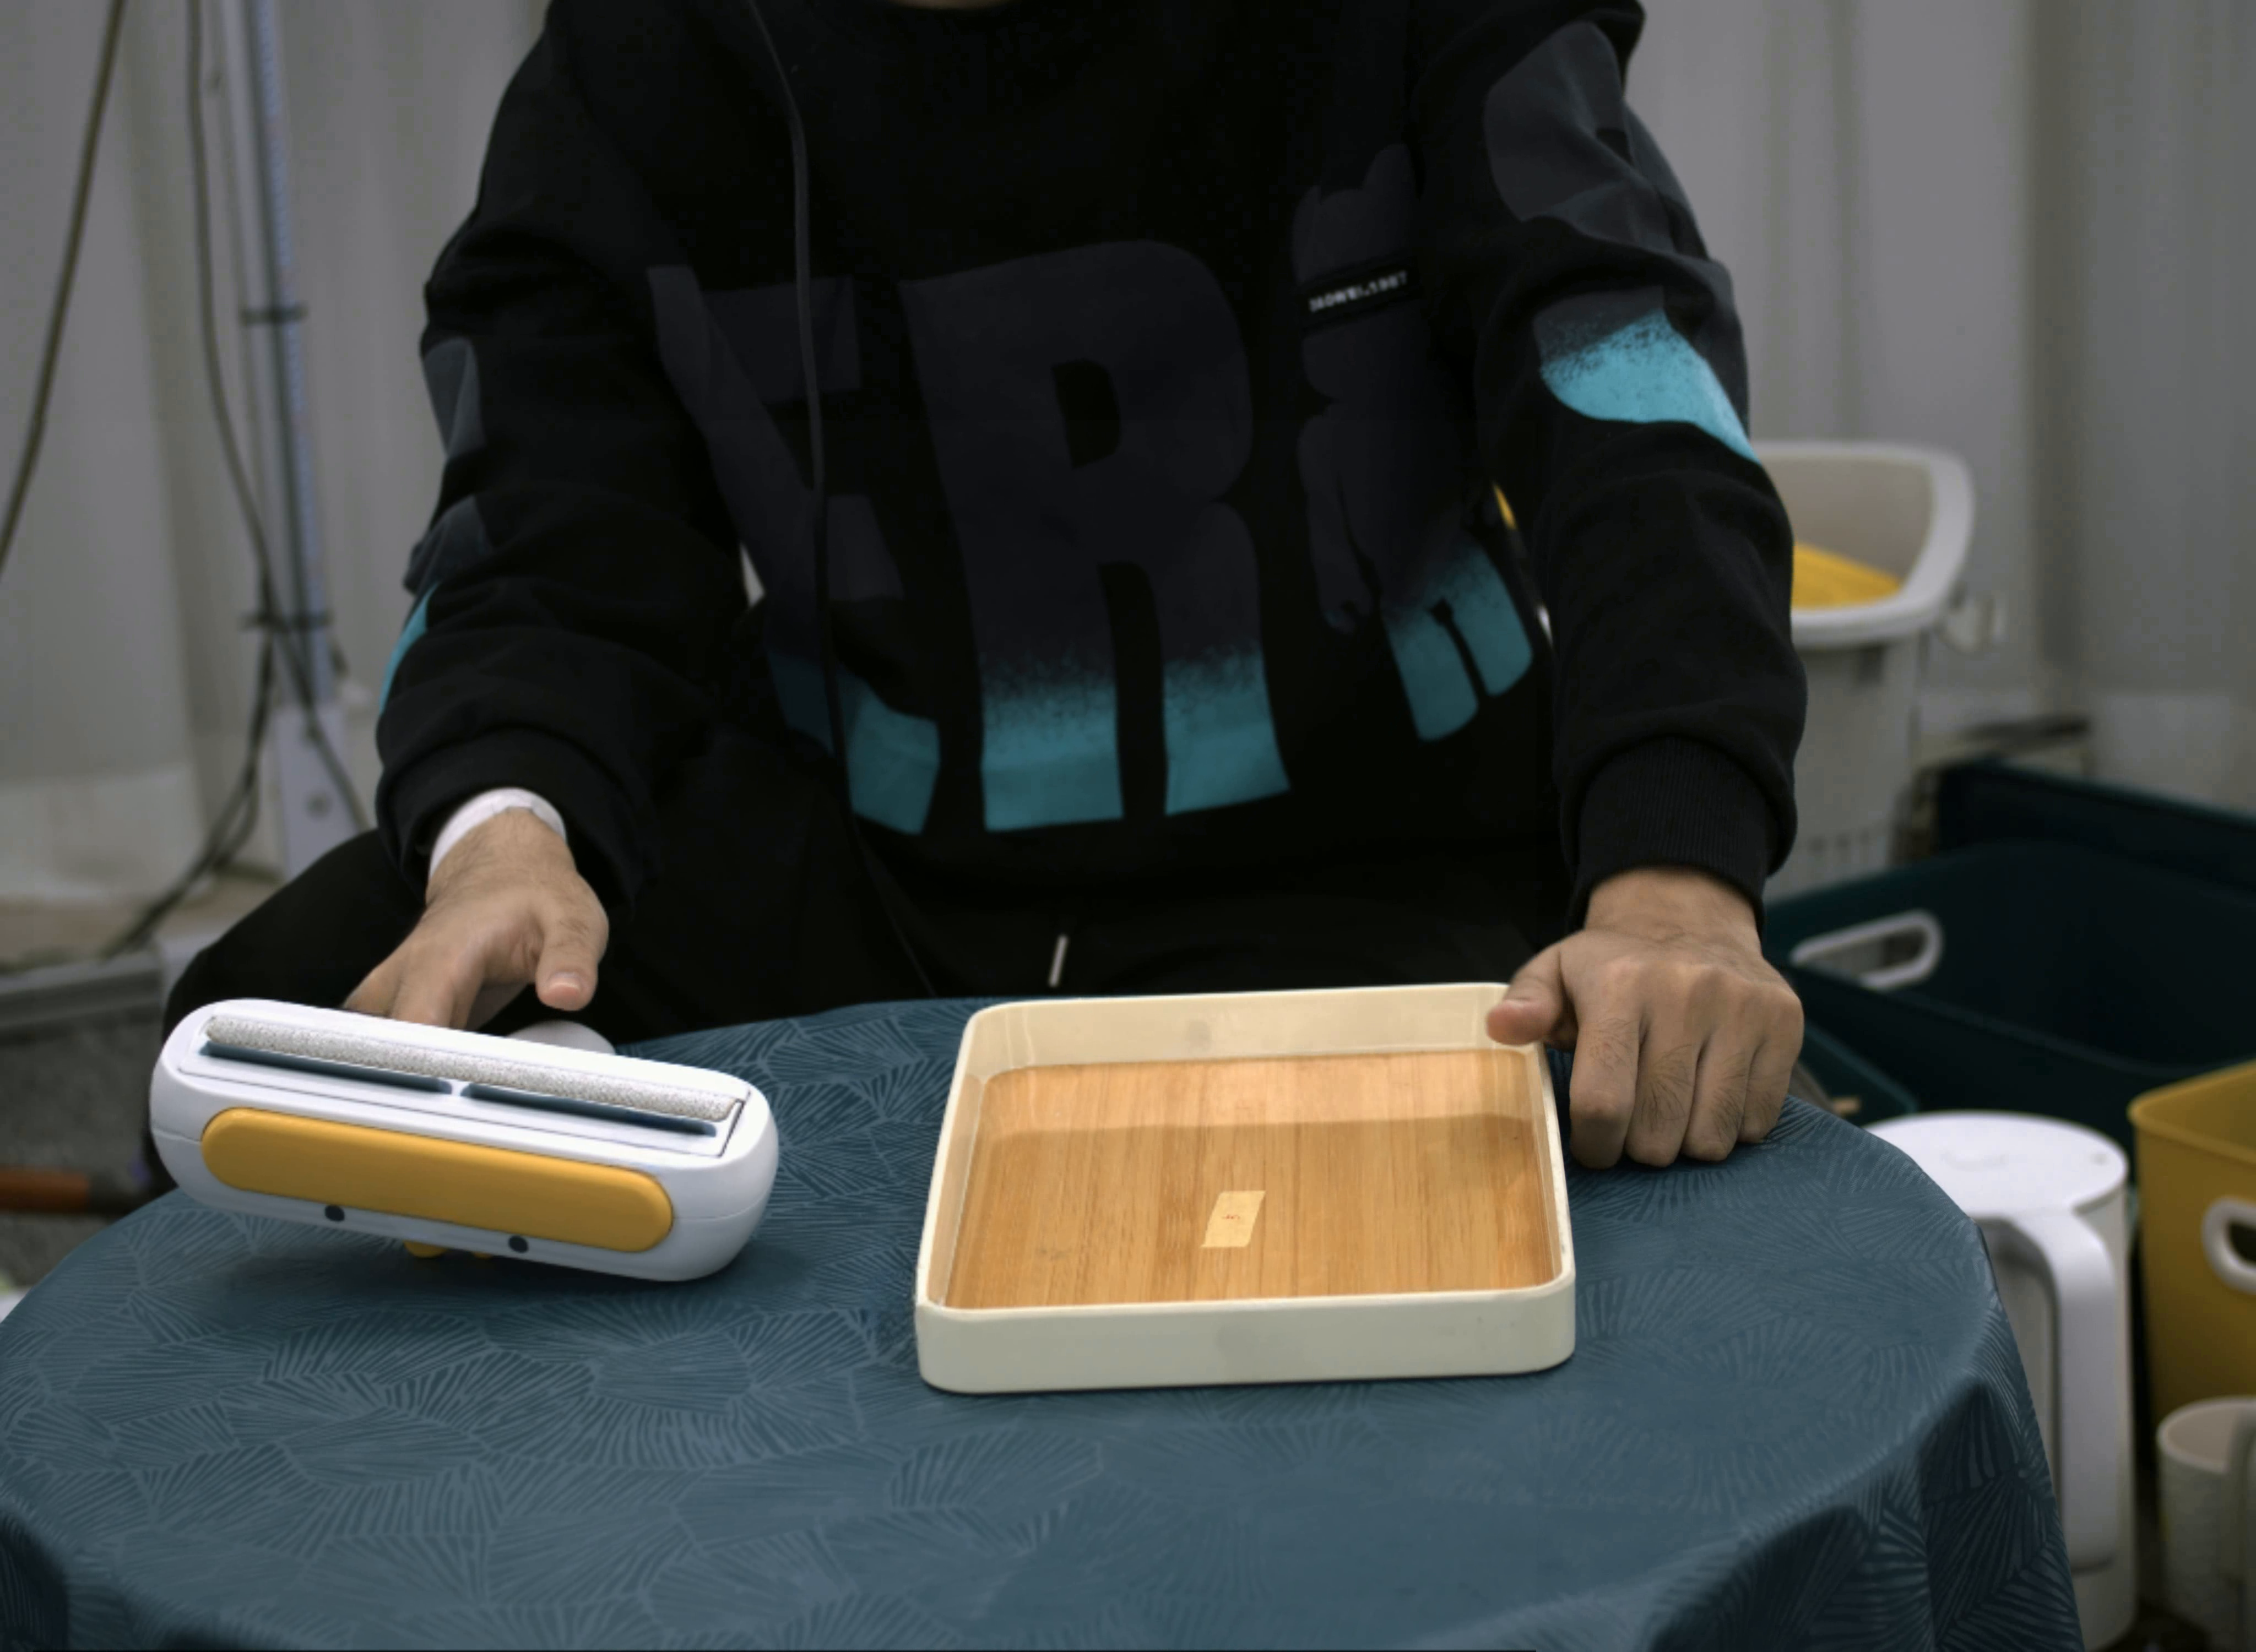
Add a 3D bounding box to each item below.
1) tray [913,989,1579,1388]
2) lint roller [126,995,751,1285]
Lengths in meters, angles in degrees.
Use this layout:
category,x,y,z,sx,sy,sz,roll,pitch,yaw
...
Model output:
category,x,y,z,sx,sy,sz,roll,pitch,yaw
tray,0.038,0.108,1.681,0.191,0.027,0.302,-2,15,3
lint roller,-0.199,0.085,1.726,0.192,0.074,0.193,5,18,11
